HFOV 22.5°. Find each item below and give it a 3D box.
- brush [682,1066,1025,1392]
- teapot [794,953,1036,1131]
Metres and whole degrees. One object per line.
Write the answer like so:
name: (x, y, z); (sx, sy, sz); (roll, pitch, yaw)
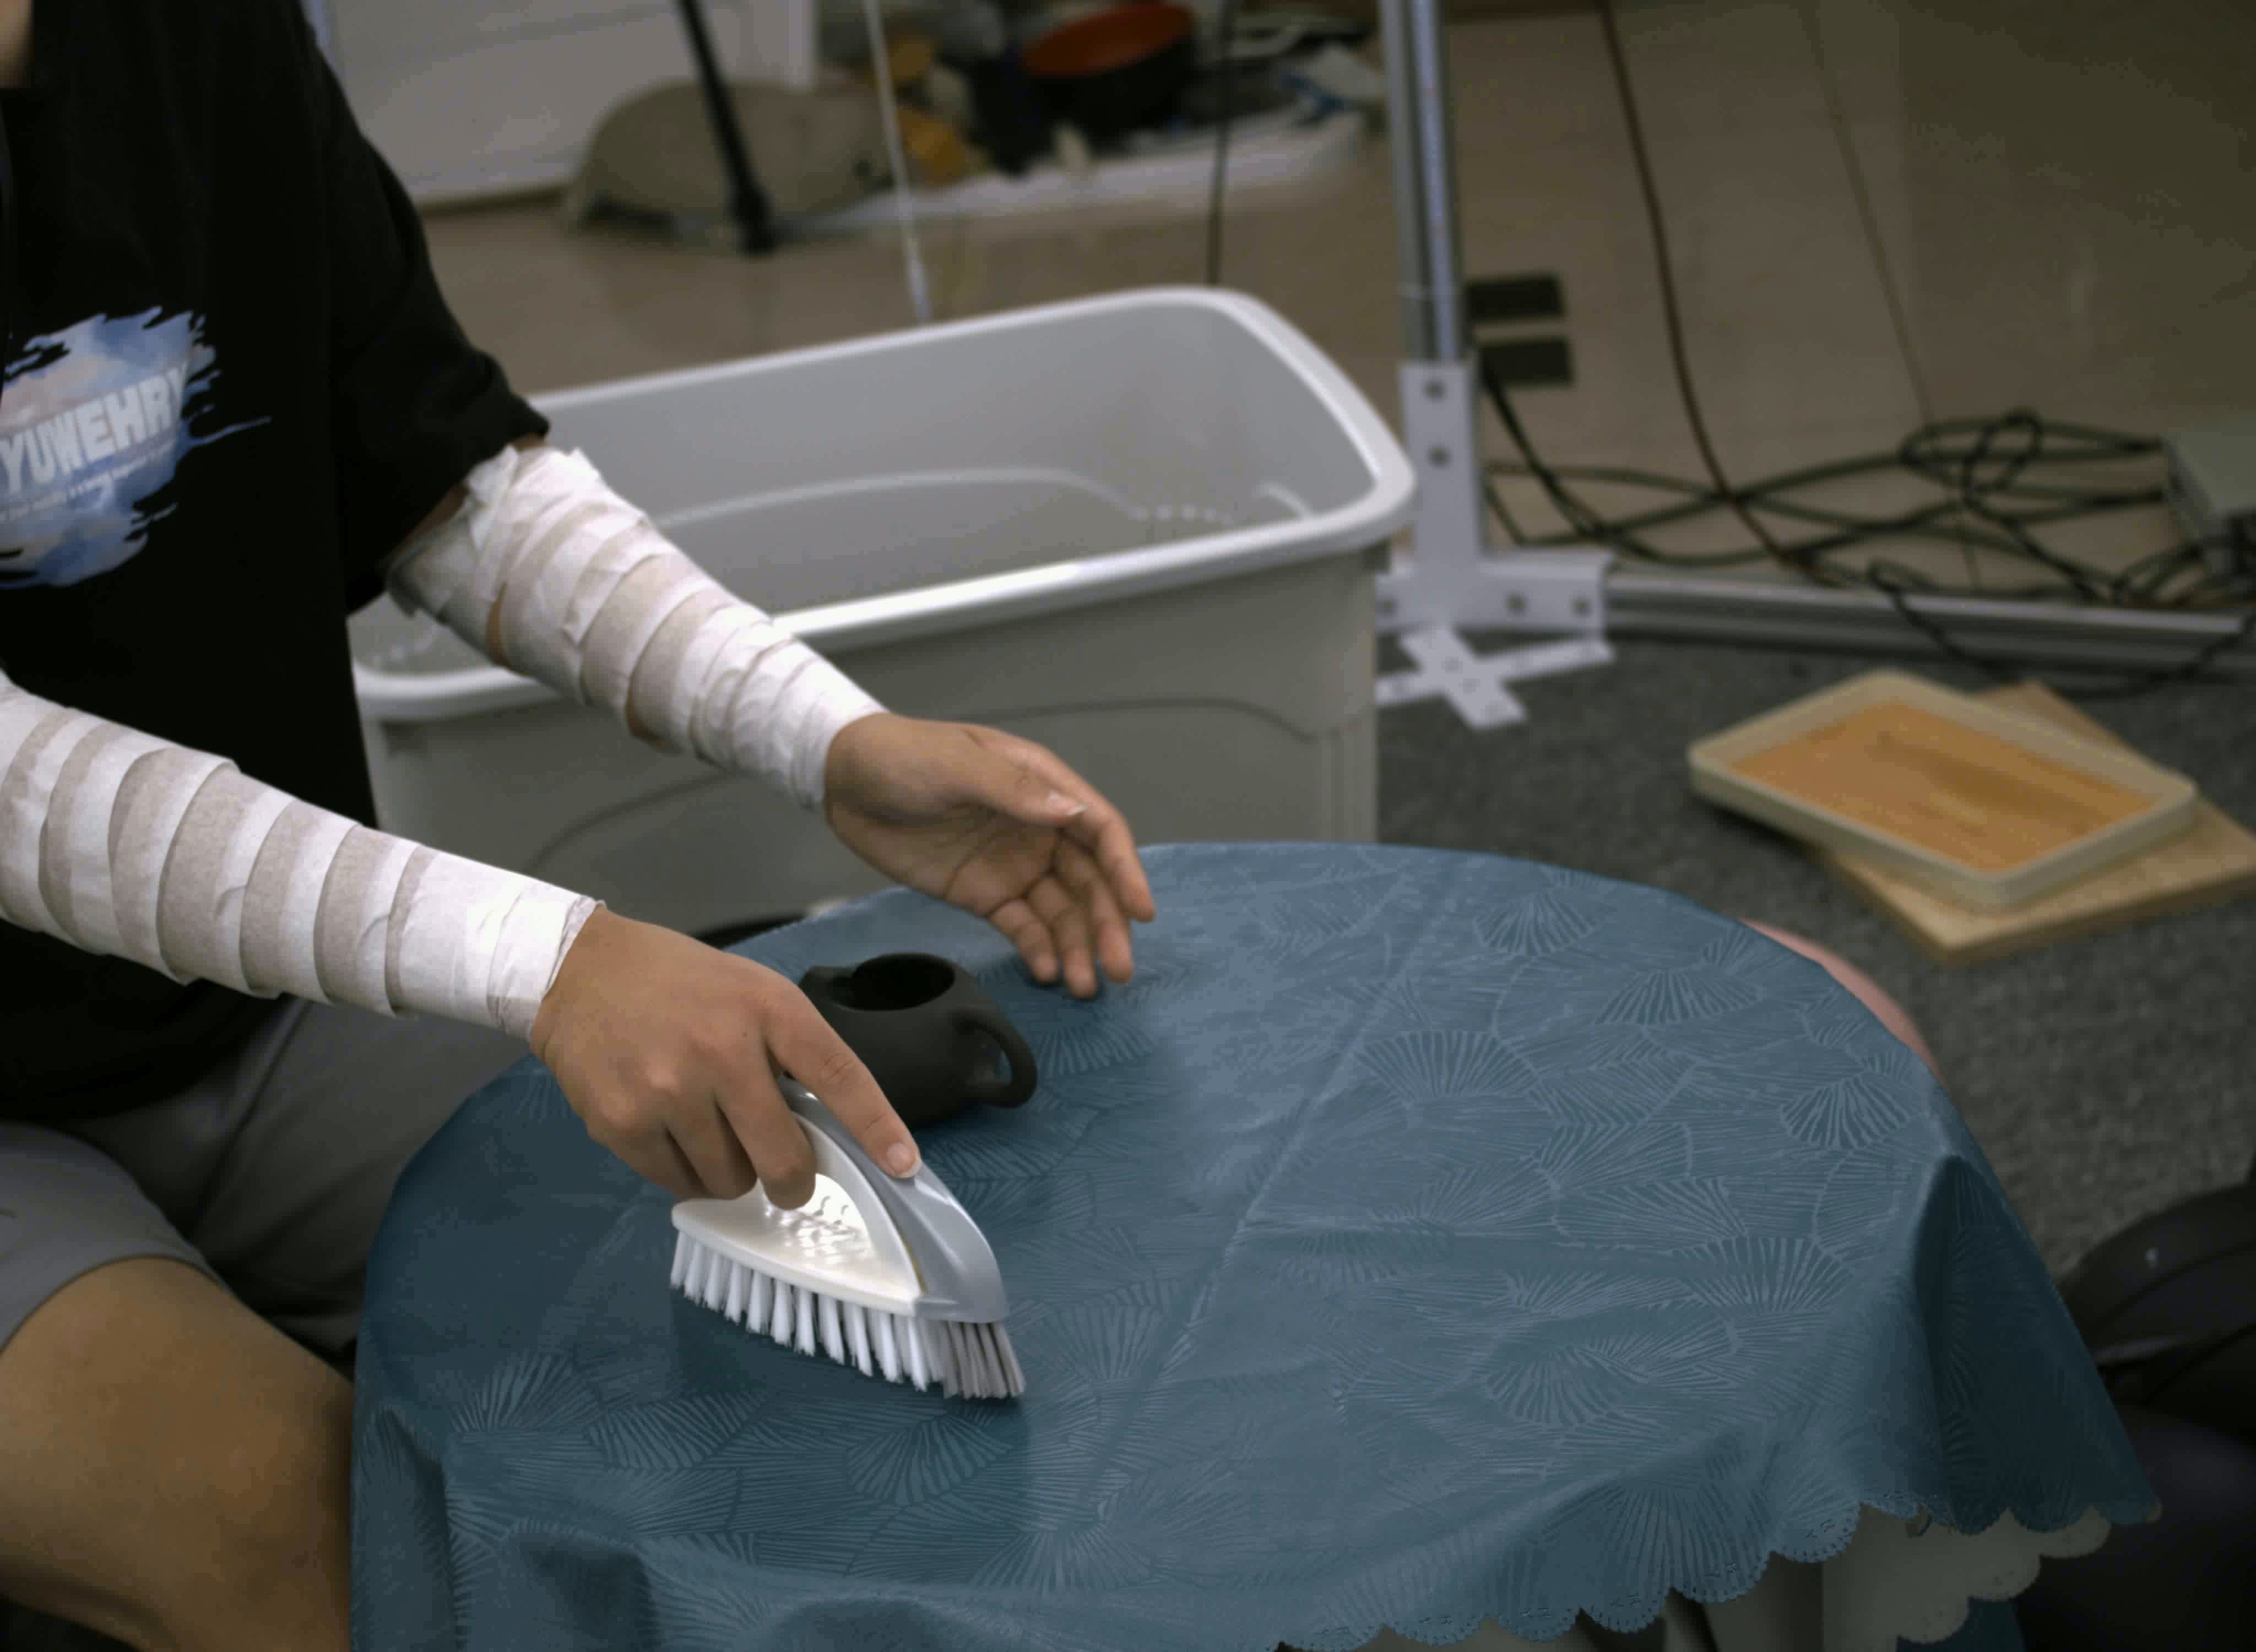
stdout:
brush: (-0.099, 0.141, 2.057); (0.061, 0.096, 0.174); (-27, 33, -31)
teapot: (-0.081, 0.086, 2.222); (0.113, 0.054, 0.082); (11, 30, 38)
